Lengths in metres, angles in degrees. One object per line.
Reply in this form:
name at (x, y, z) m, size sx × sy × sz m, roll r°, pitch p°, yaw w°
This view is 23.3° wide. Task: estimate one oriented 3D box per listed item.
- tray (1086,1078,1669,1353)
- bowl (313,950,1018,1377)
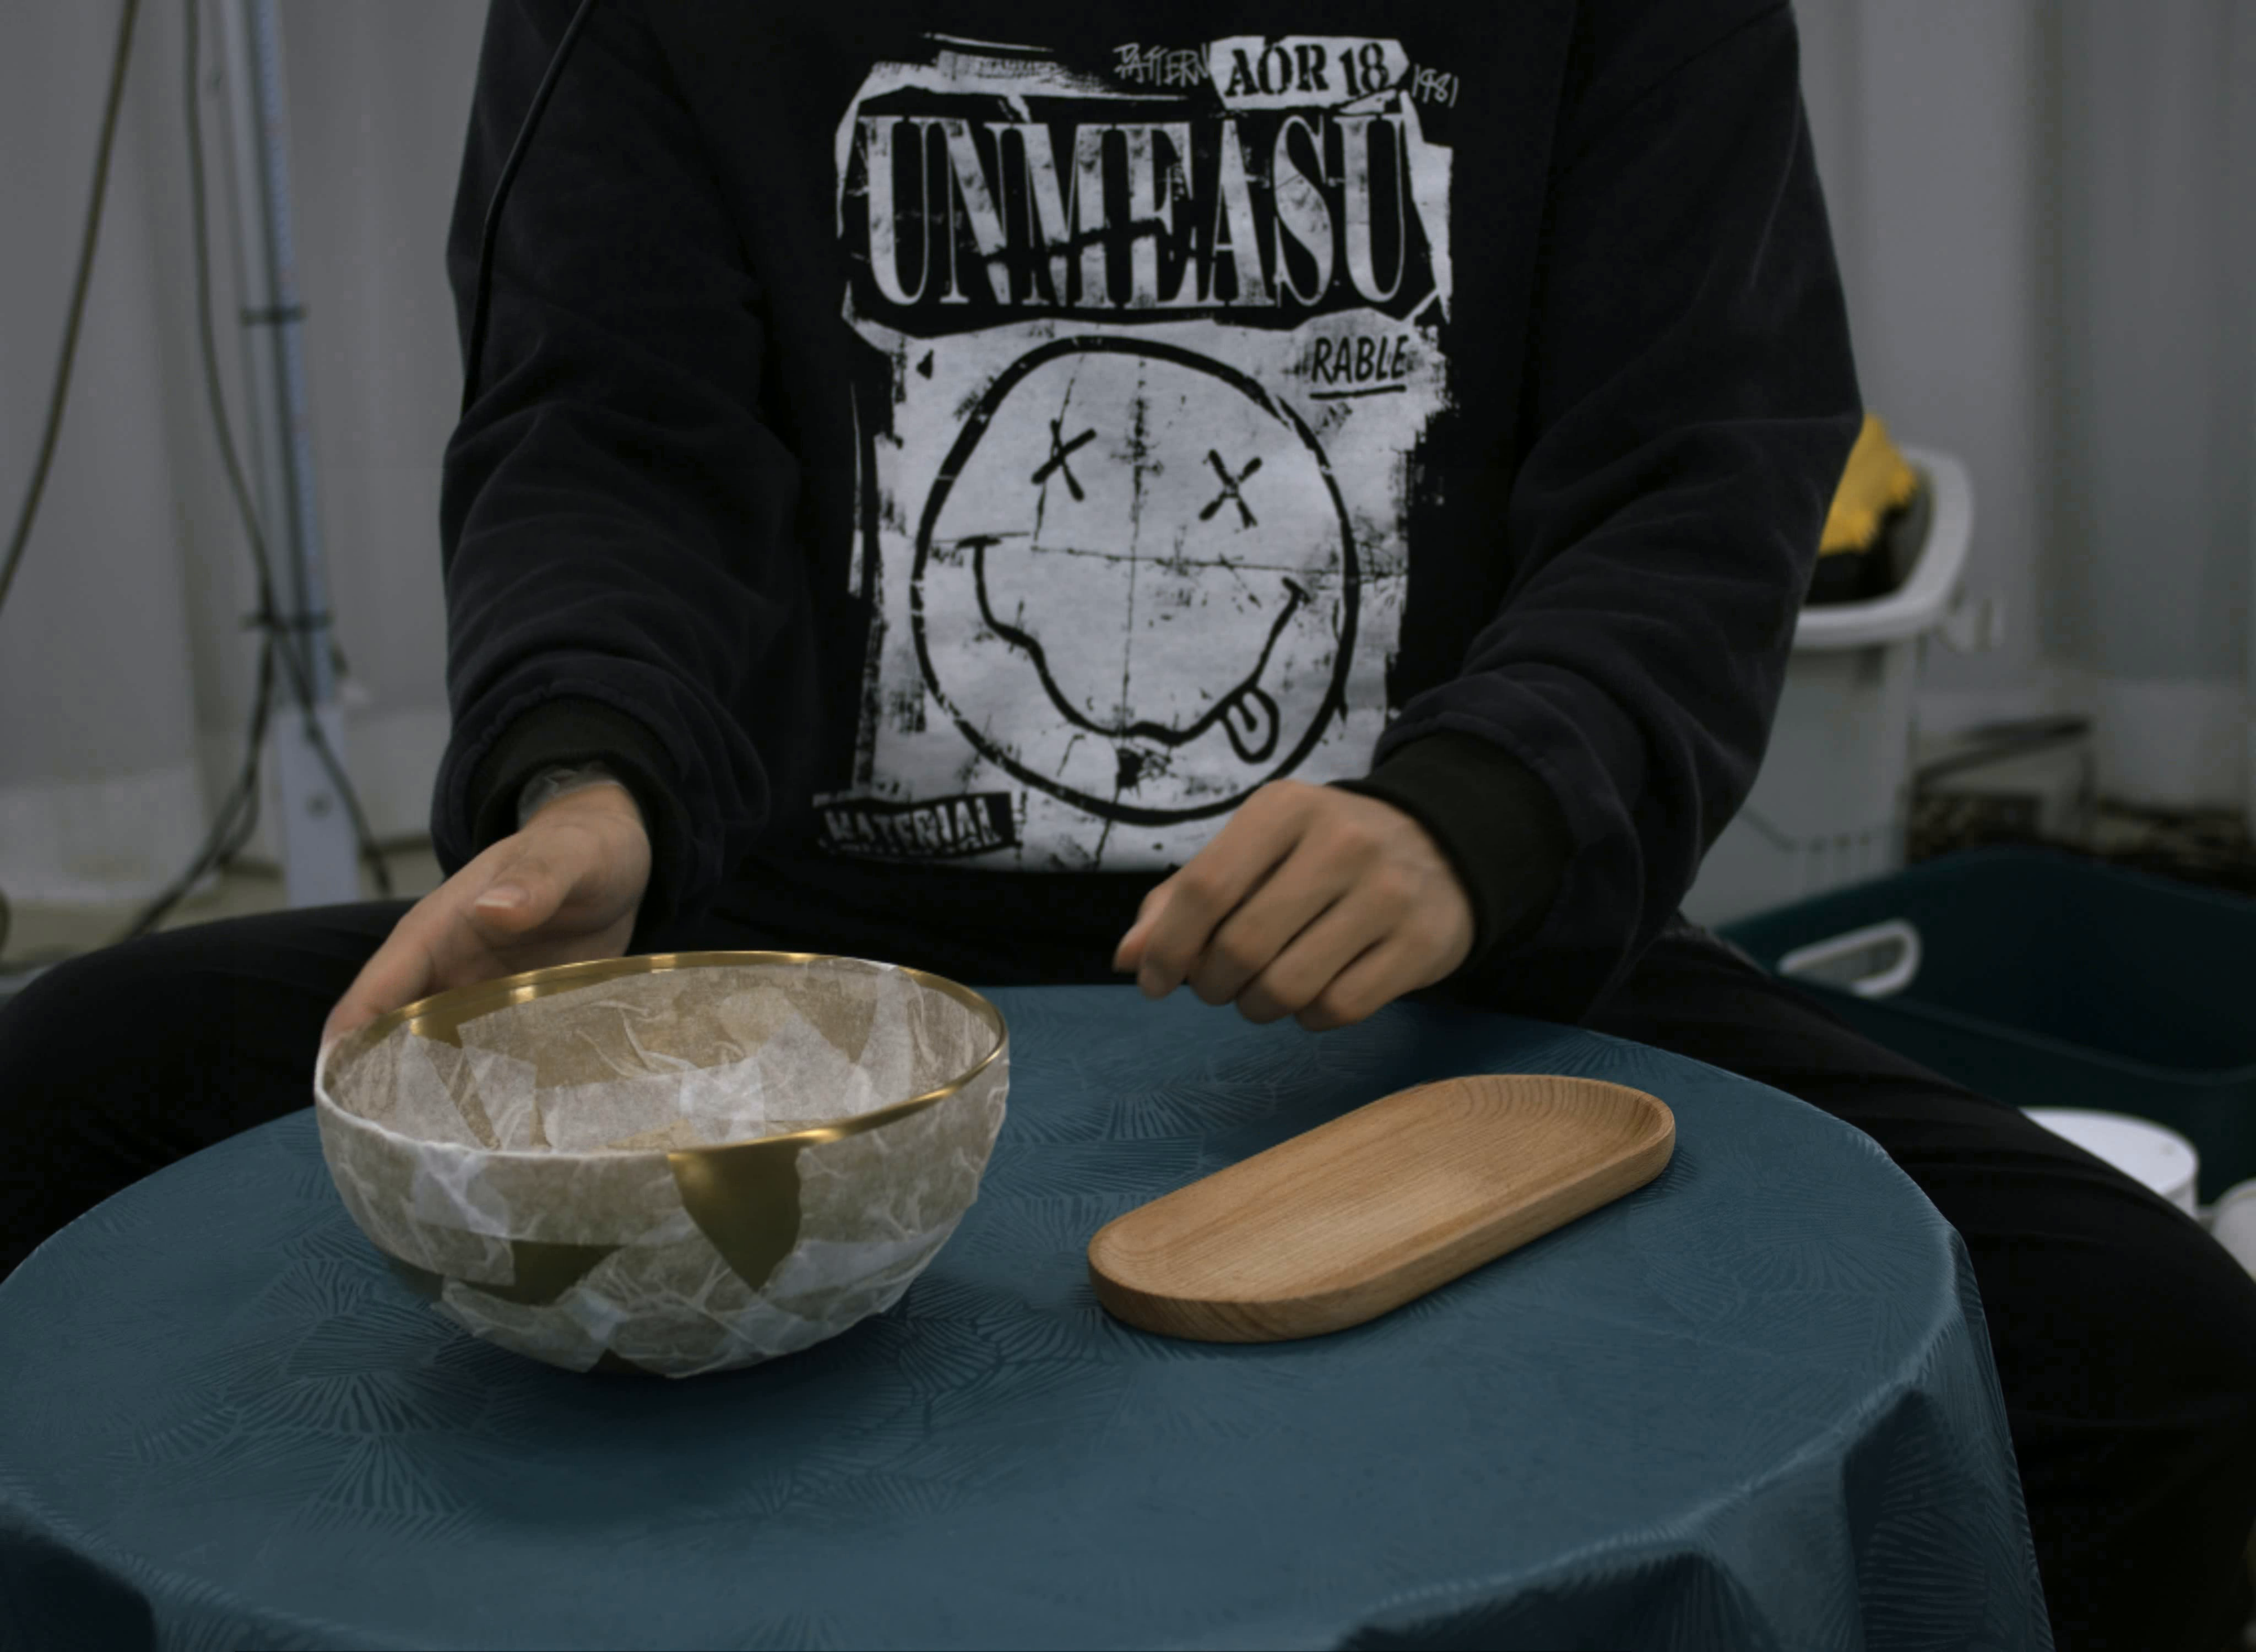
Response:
tray at (0.079, 0.117, 1.663) m, size 0.102 × 0.020 × 0.231 m, roll 6°, pitch 19°, yaw 38°
bowl at (-0.129, 0.106, 1.594) m, size 0.214 × 0.094 × 0.216 m, roll -3°, pitch 14°, yaw 0°
